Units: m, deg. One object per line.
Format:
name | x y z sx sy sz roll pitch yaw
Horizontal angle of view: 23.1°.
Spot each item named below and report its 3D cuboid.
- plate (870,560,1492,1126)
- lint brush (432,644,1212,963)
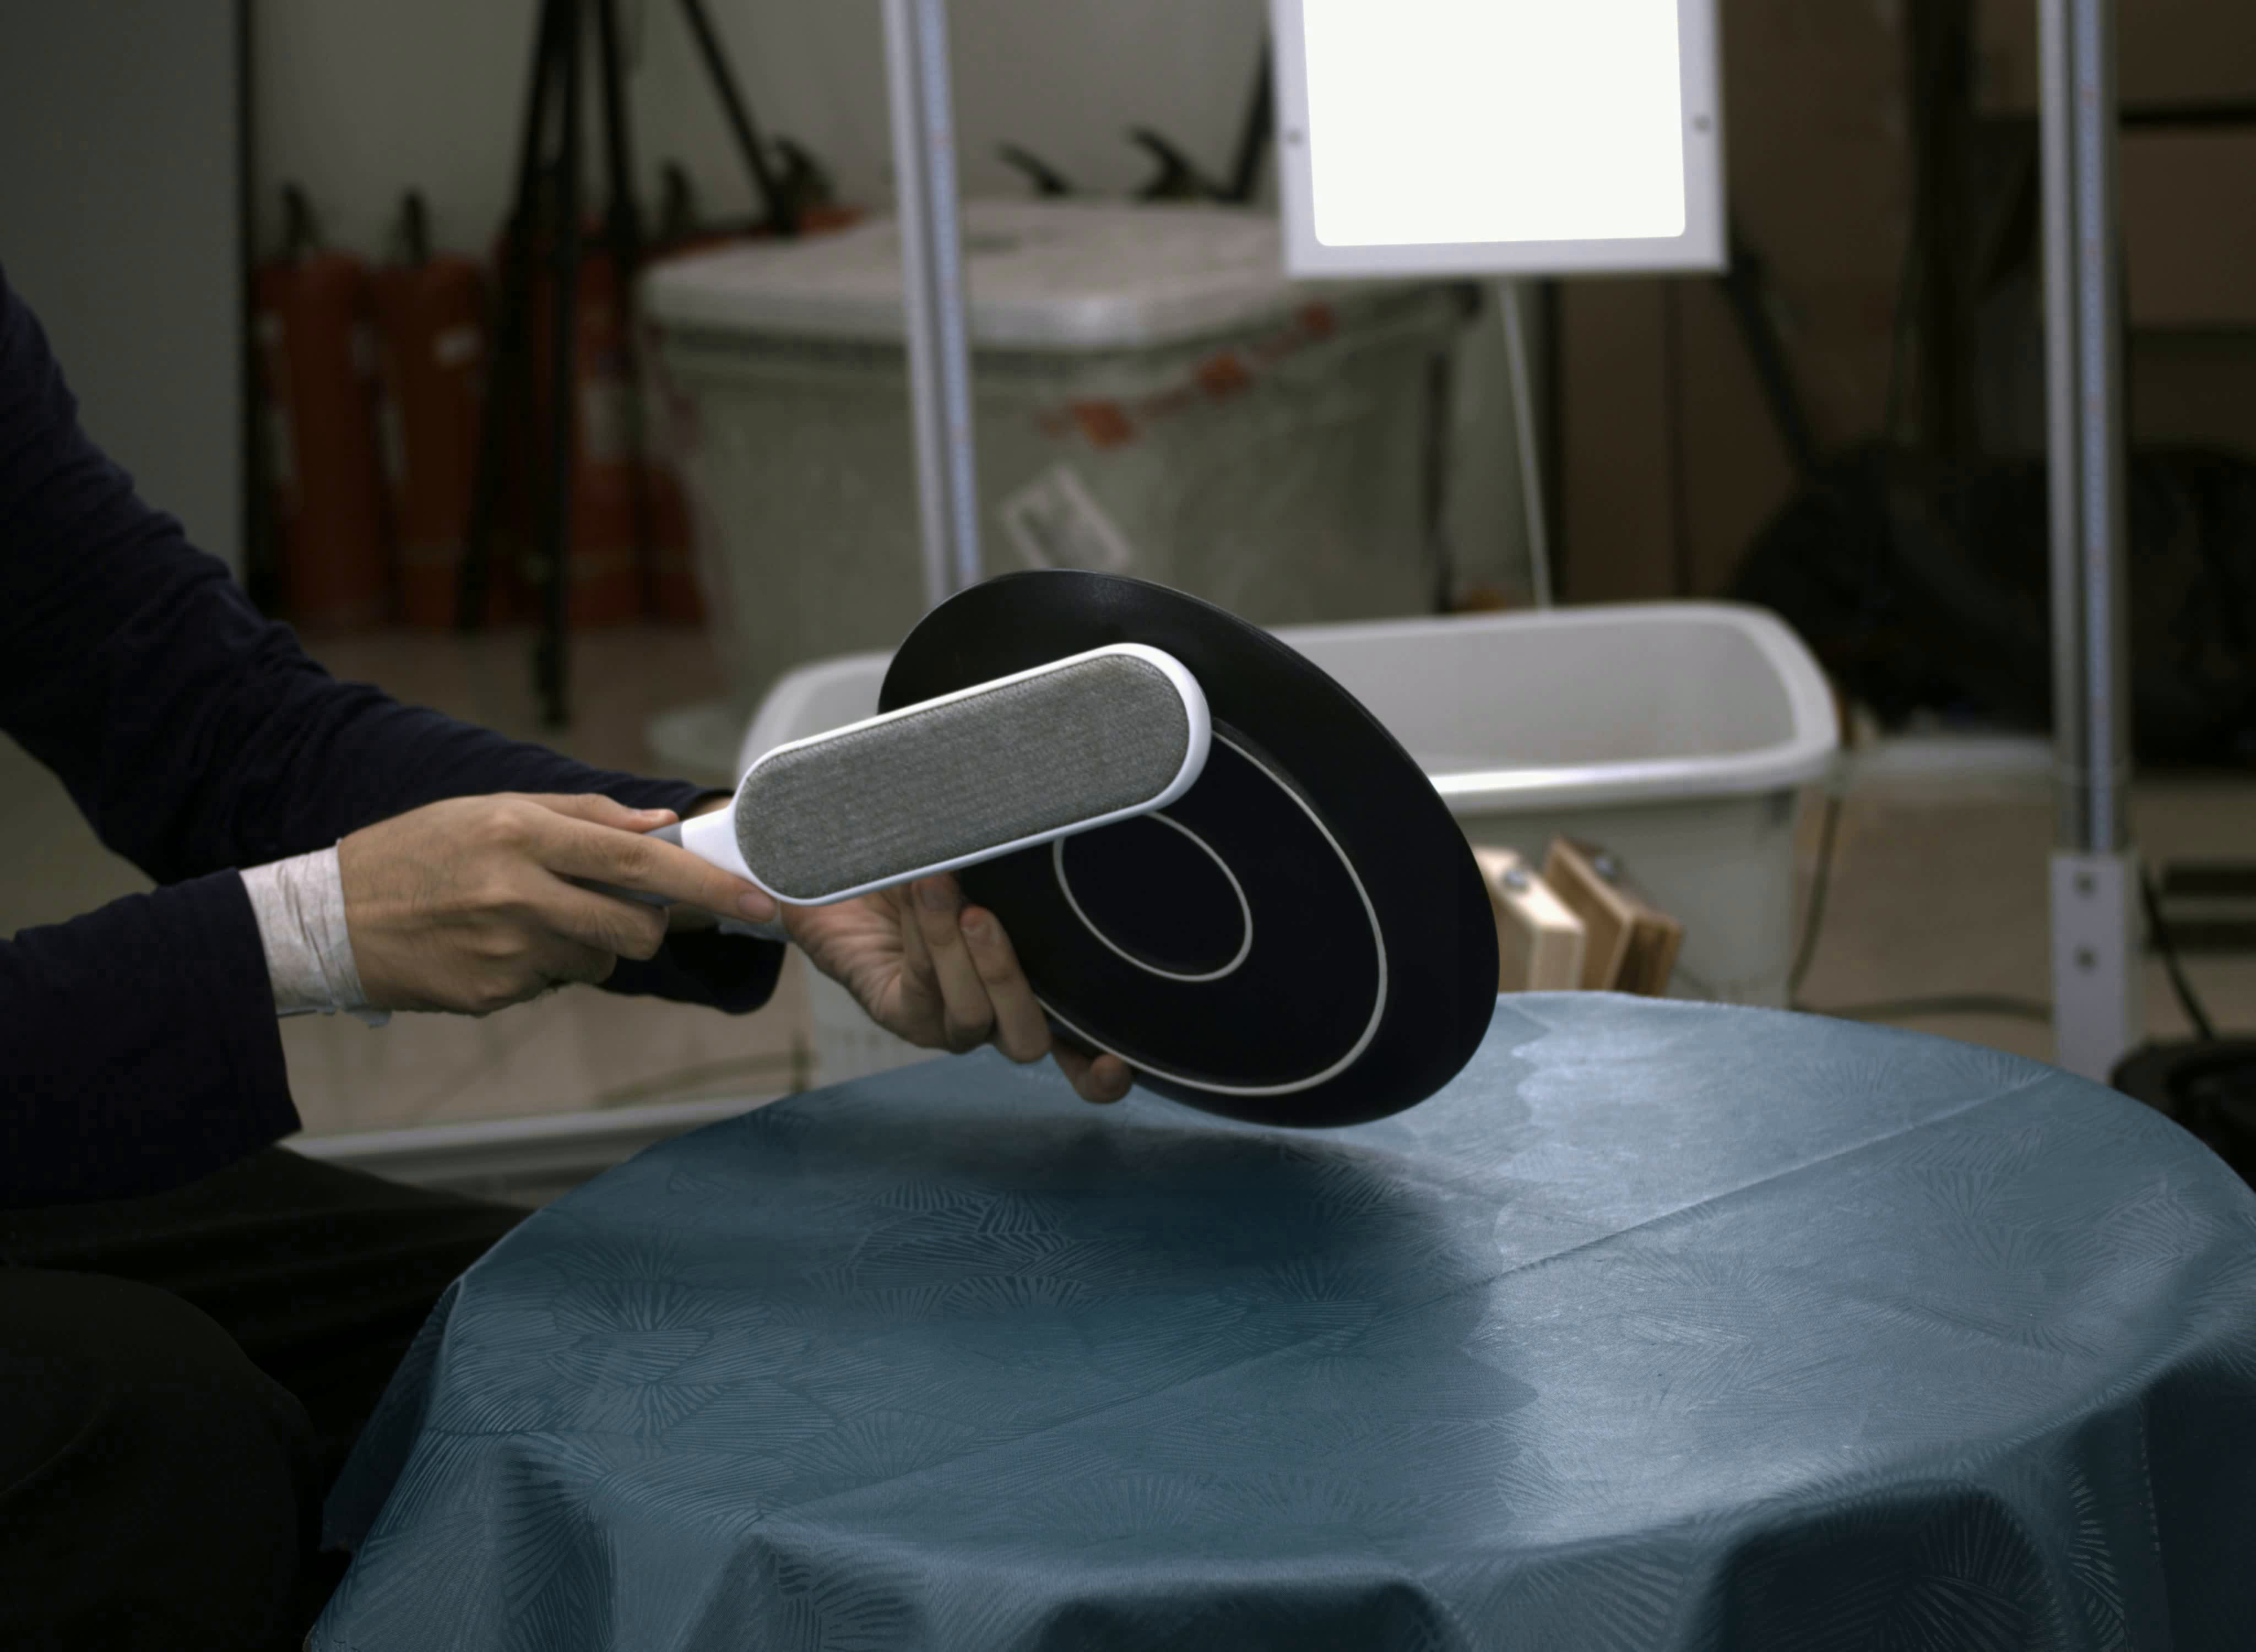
plate | 0.012 0.014 1.881 0.249 0.244 0.023 6 40 36
lint brush | -0.108 -0.002 1.865 0.314 0.060 0.020 -16 3 28
